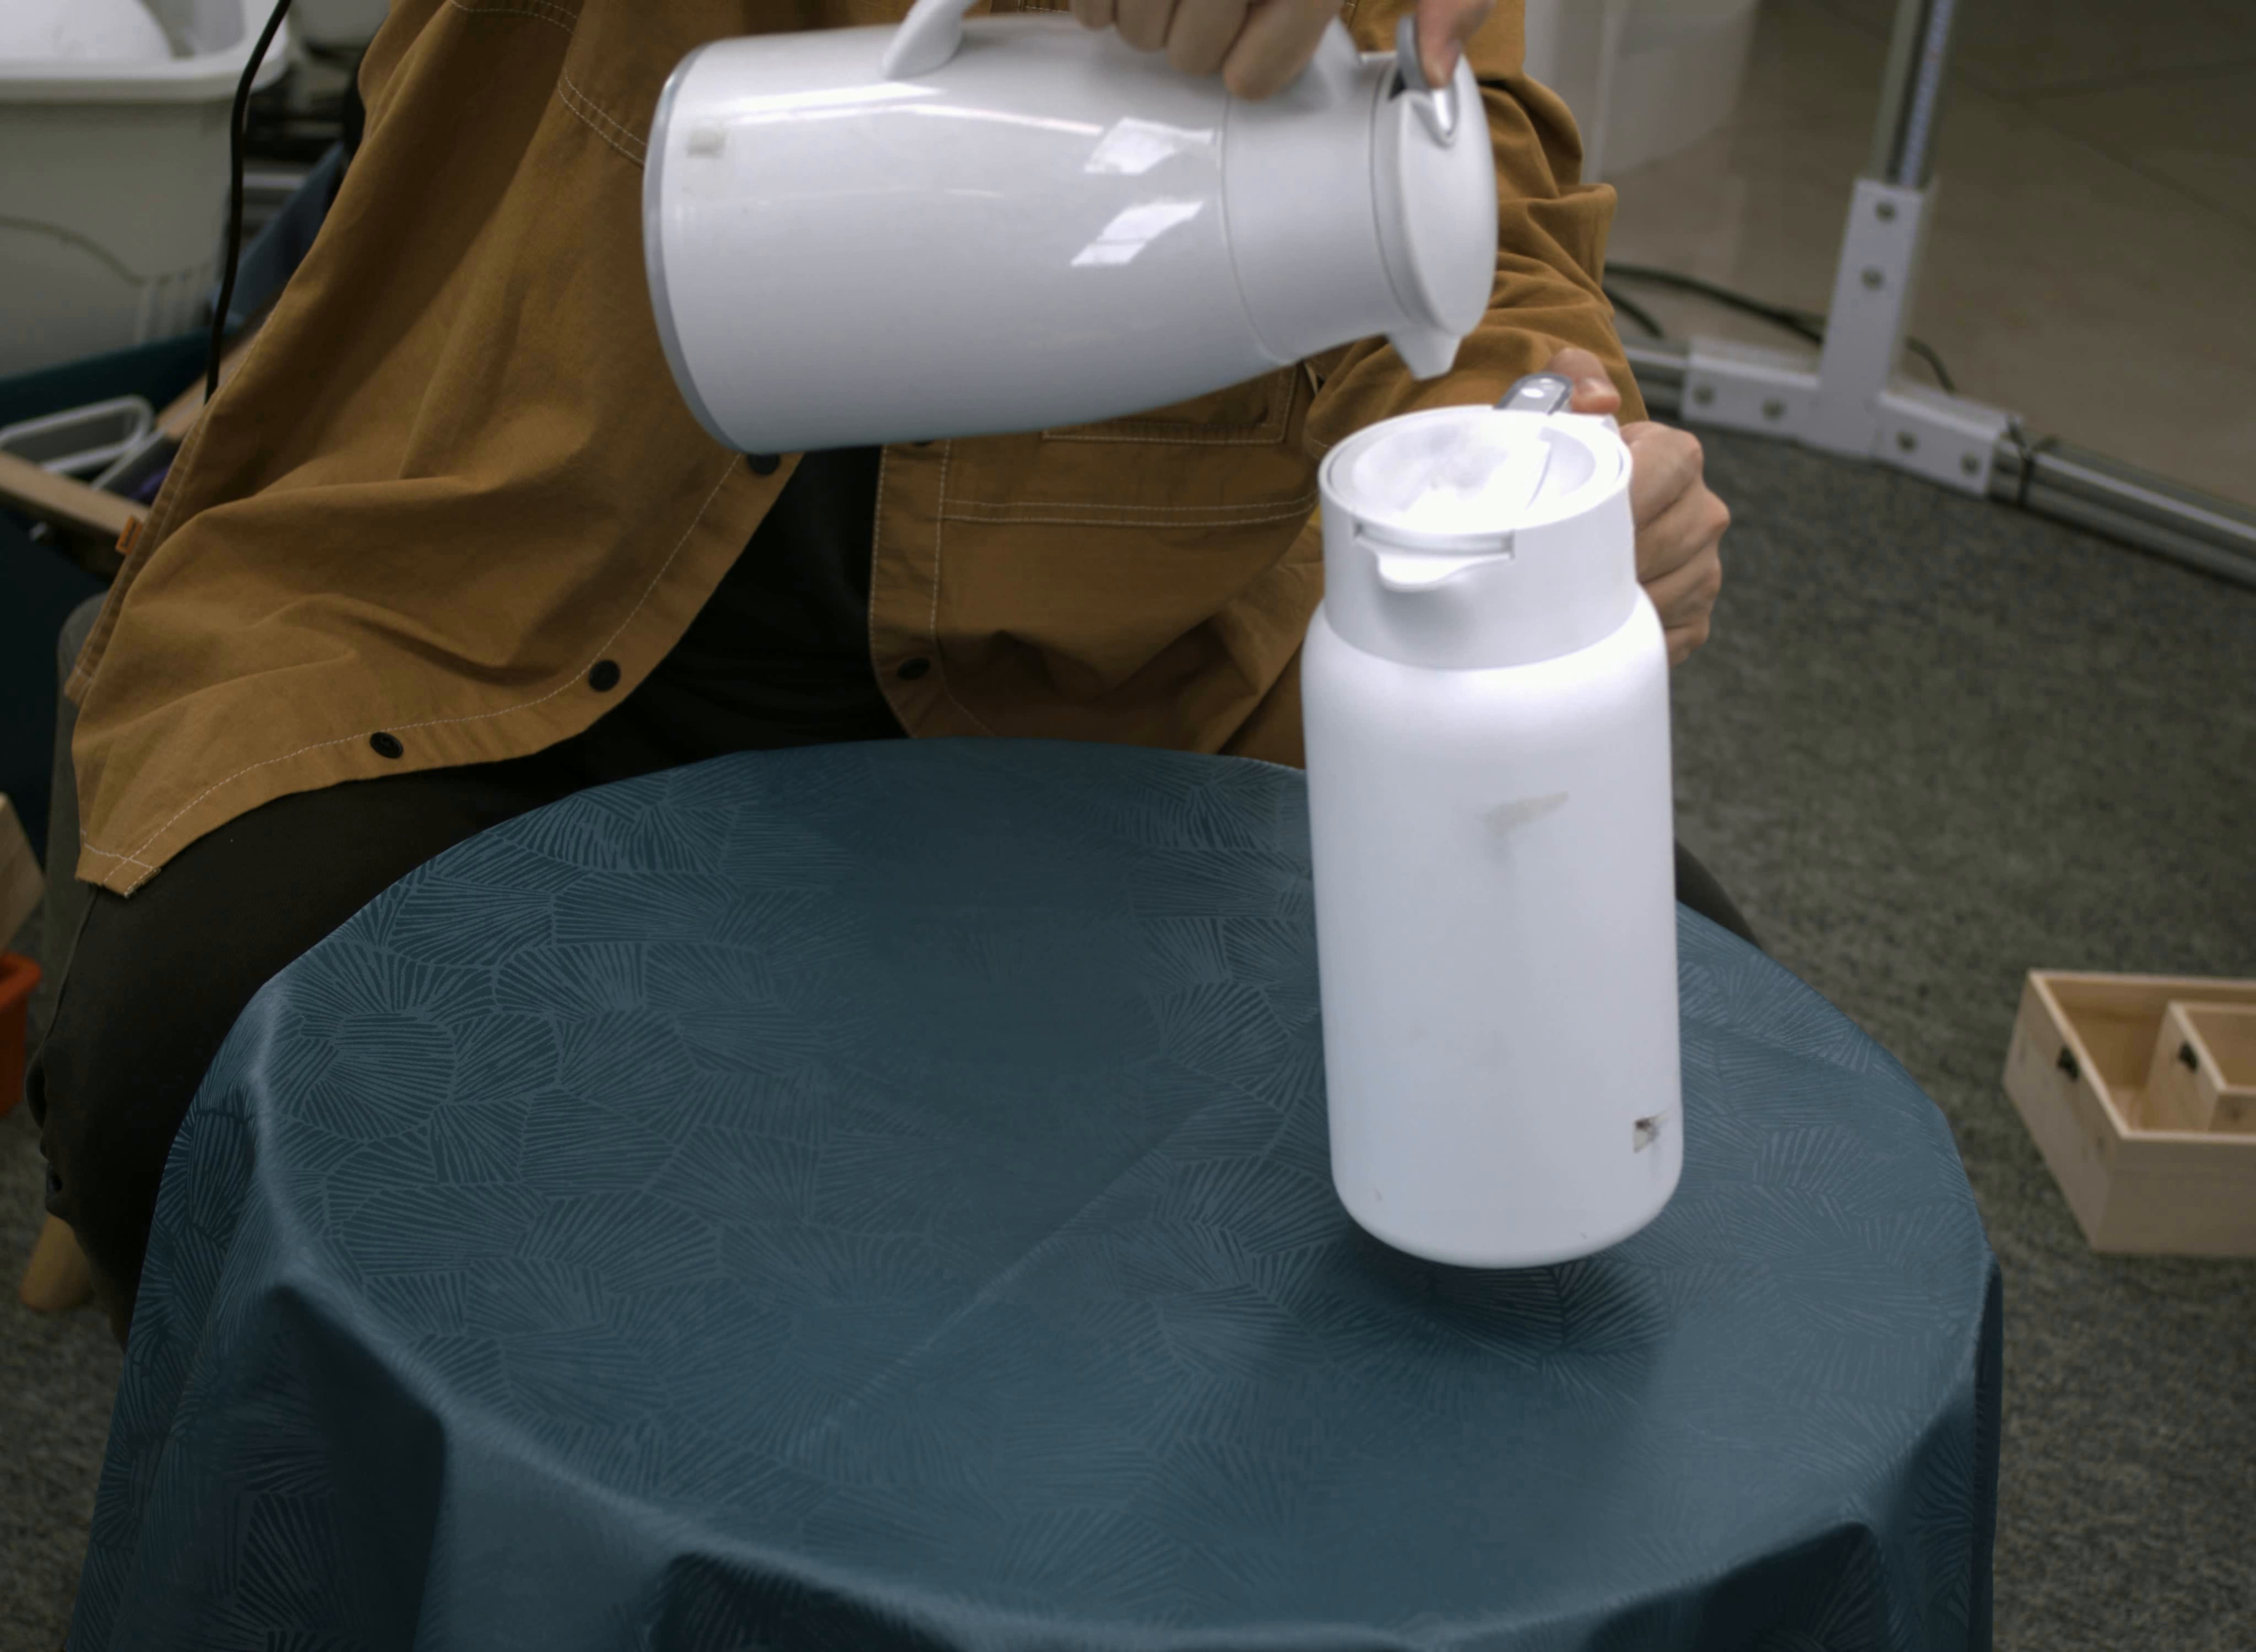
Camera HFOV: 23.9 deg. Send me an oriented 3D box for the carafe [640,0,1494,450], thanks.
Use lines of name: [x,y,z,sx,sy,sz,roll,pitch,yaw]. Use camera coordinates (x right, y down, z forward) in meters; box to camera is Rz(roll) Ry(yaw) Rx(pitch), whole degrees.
carafe: [-0.018,-0.204,1.635,0.249,0.166,0.133,-3,39,22]

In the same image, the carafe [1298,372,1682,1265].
carafe: [0.122,-0.006,1.730,0.124,0.268,0.173,5,28,23]
